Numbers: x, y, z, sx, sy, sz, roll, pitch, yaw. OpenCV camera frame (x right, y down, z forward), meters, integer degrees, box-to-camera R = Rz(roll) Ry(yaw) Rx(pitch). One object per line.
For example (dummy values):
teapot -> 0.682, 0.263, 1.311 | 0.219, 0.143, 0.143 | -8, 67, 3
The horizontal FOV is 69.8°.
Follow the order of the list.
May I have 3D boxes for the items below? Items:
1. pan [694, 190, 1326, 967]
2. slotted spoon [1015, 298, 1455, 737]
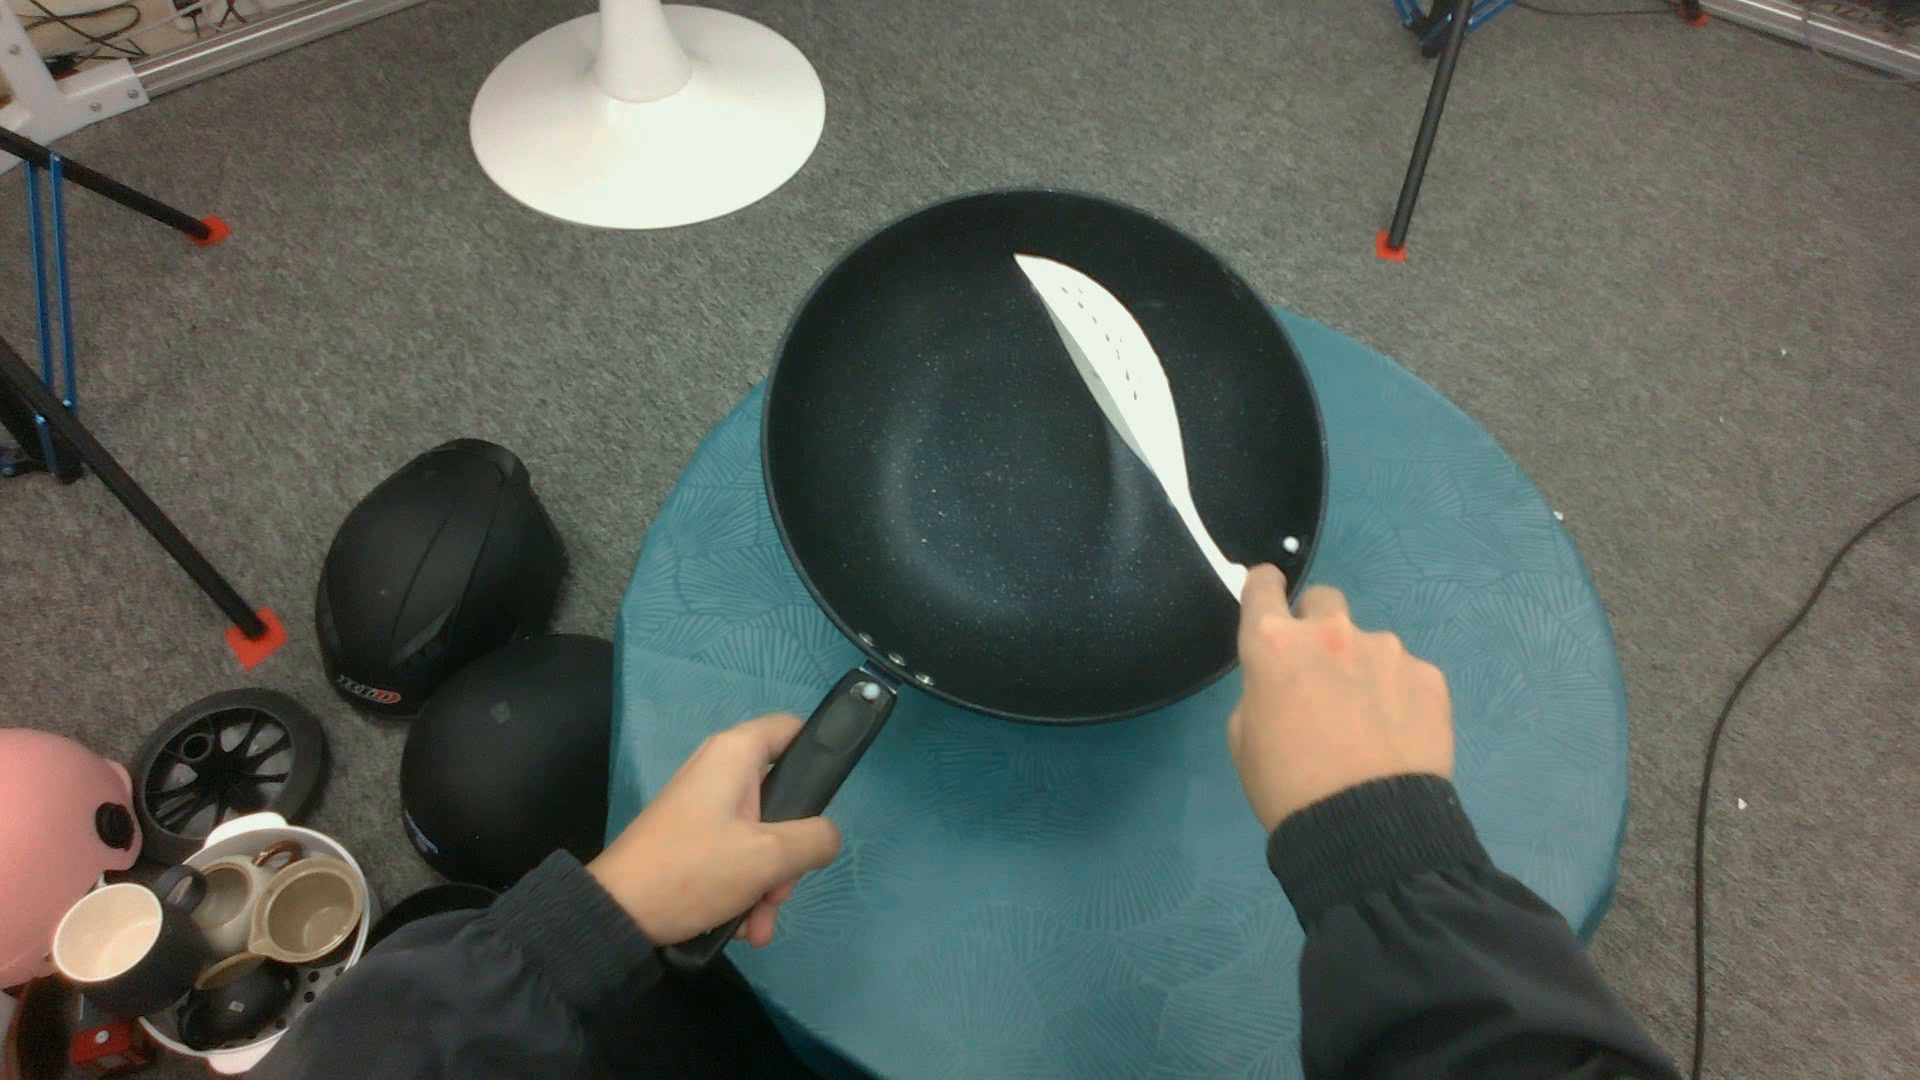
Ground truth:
pan -> 0.005, 0.017, 0.749 | 0.310, 0.111, 0.478 | 31, 69, 5
slotted spoon -> 0.130, -0.018, 0.705 | 0.050, 0.136, 0.349 | -34, 49, 7
